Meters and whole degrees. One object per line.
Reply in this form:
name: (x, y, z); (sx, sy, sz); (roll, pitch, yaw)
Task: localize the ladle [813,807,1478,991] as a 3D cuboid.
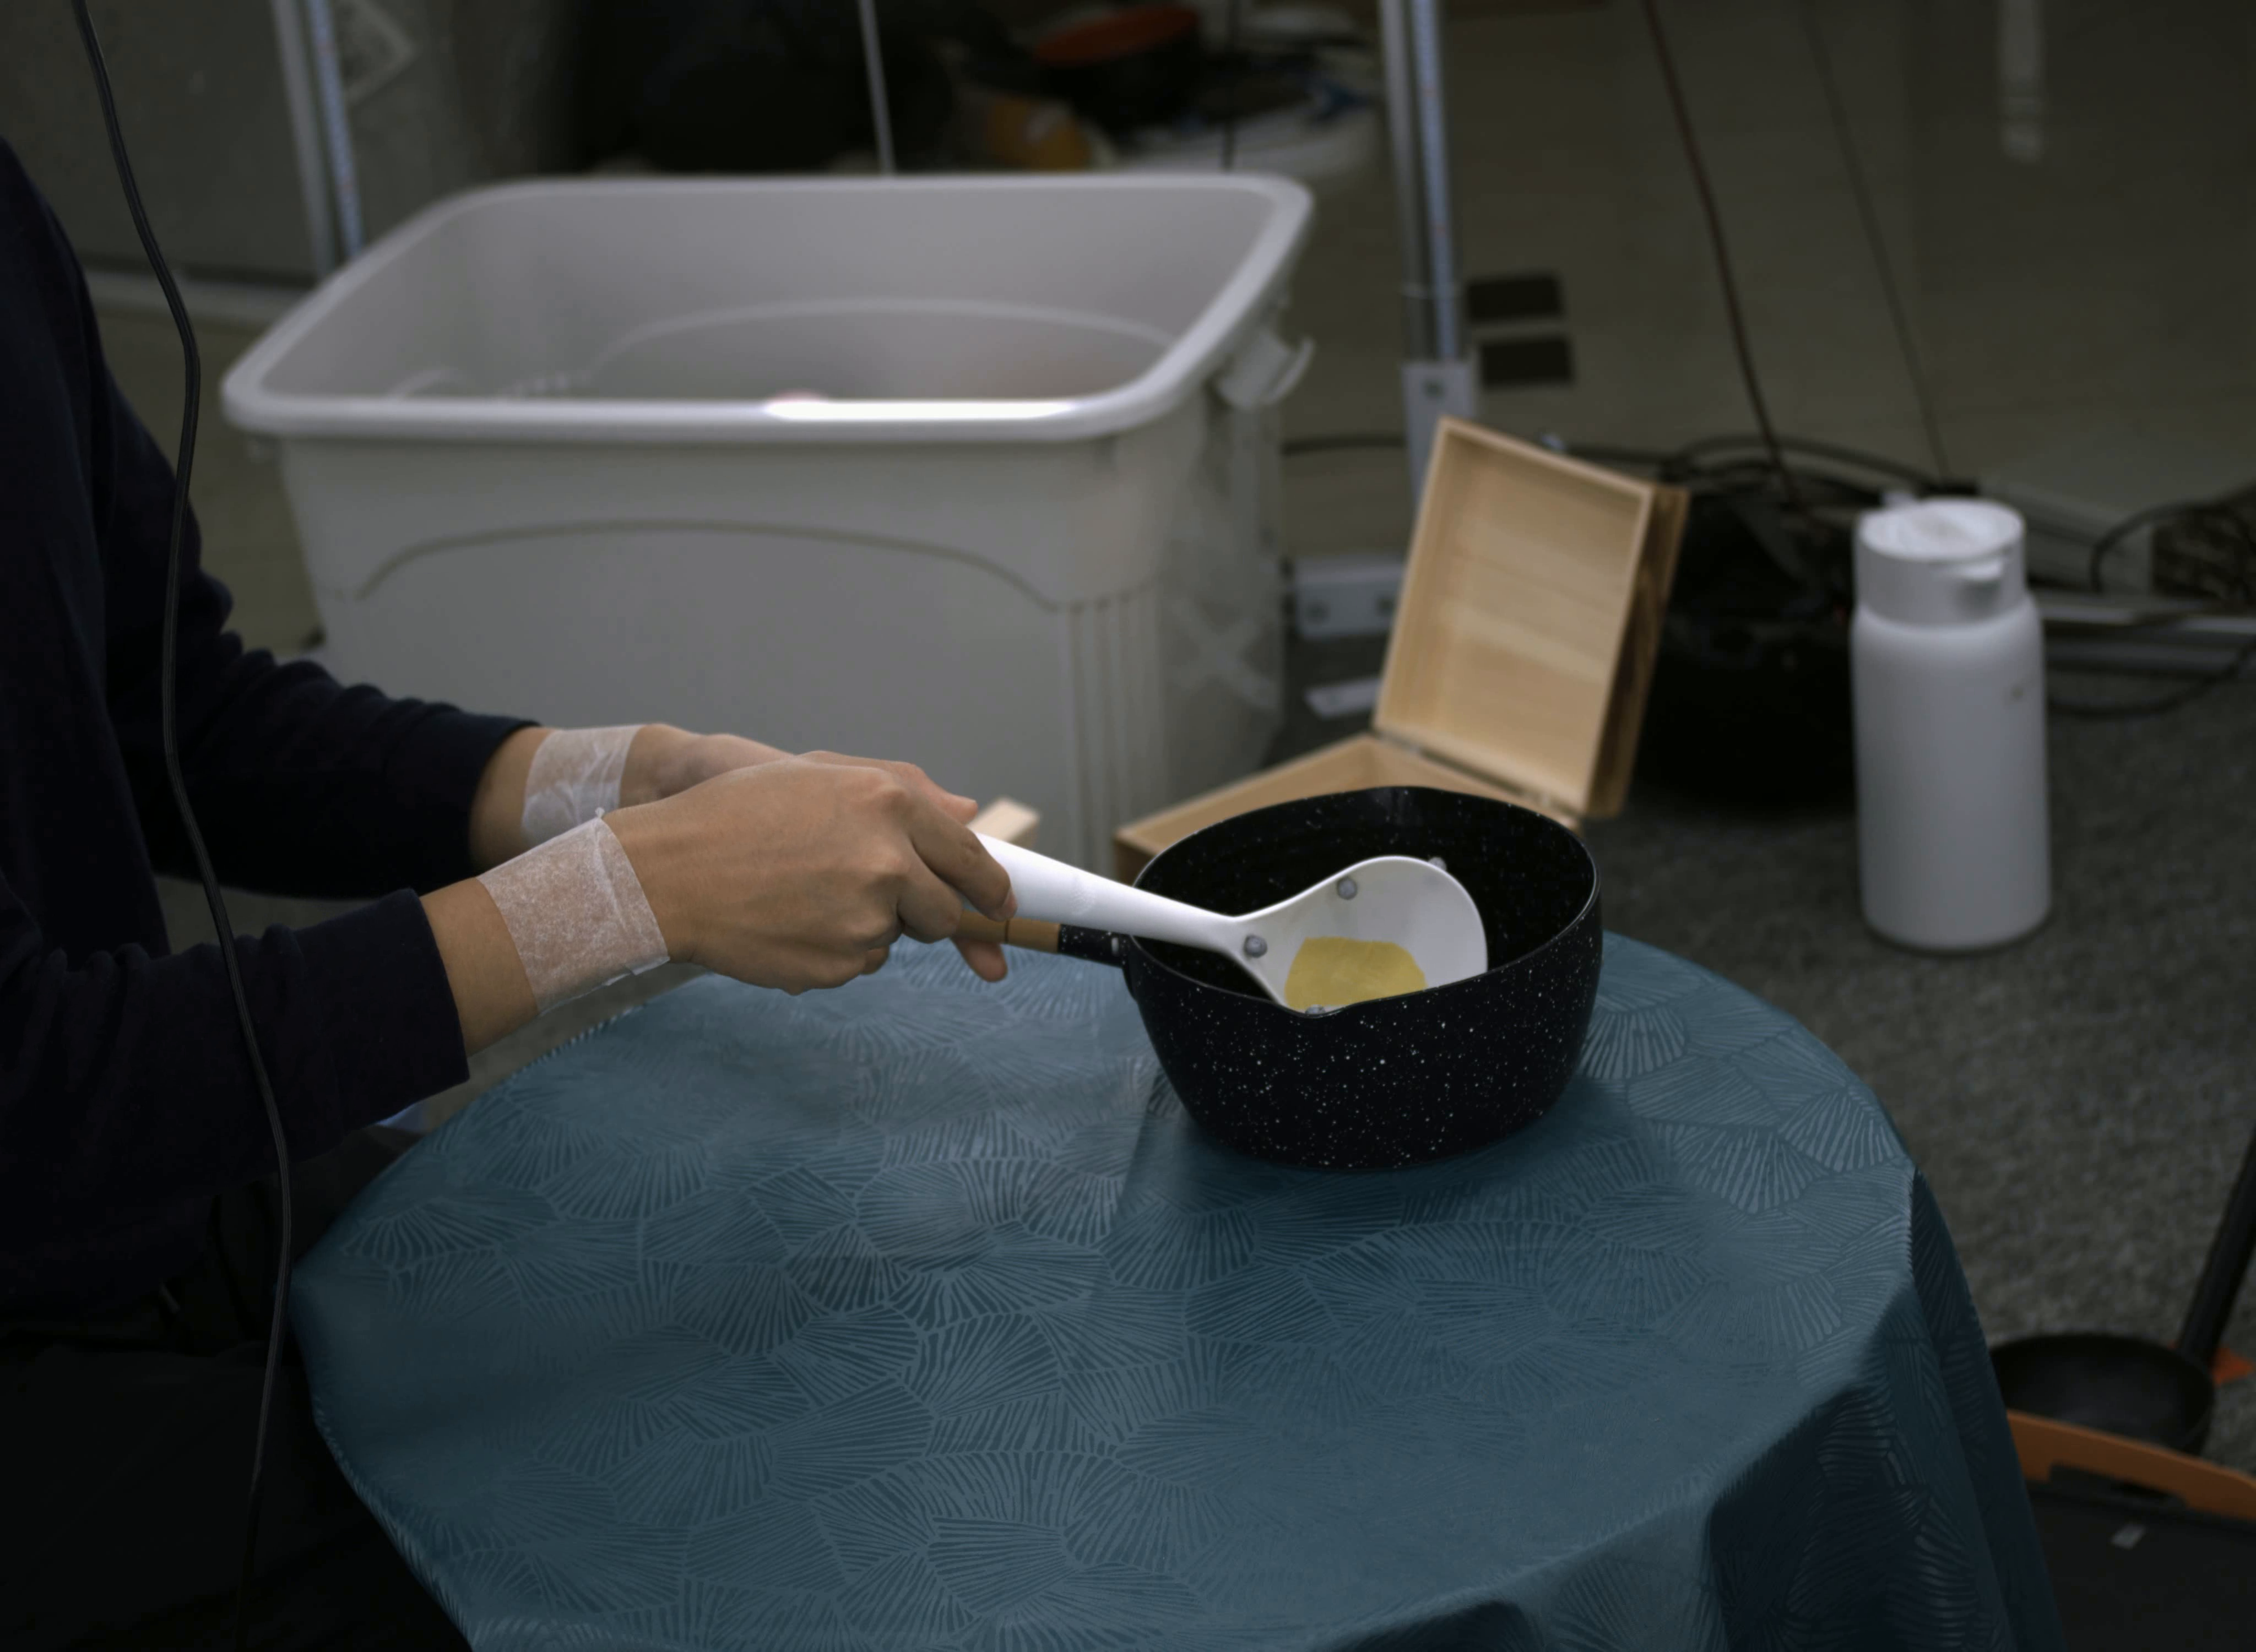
ladle: (0.012, 0.042, 2.124); (0.294, 0.090, 0.069); (16, 2, -43)

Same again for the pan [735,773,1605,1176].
pan: (0.015, 0.052, 2.199); (0.342, 0.110, 0.204); (1, 27, 12)
